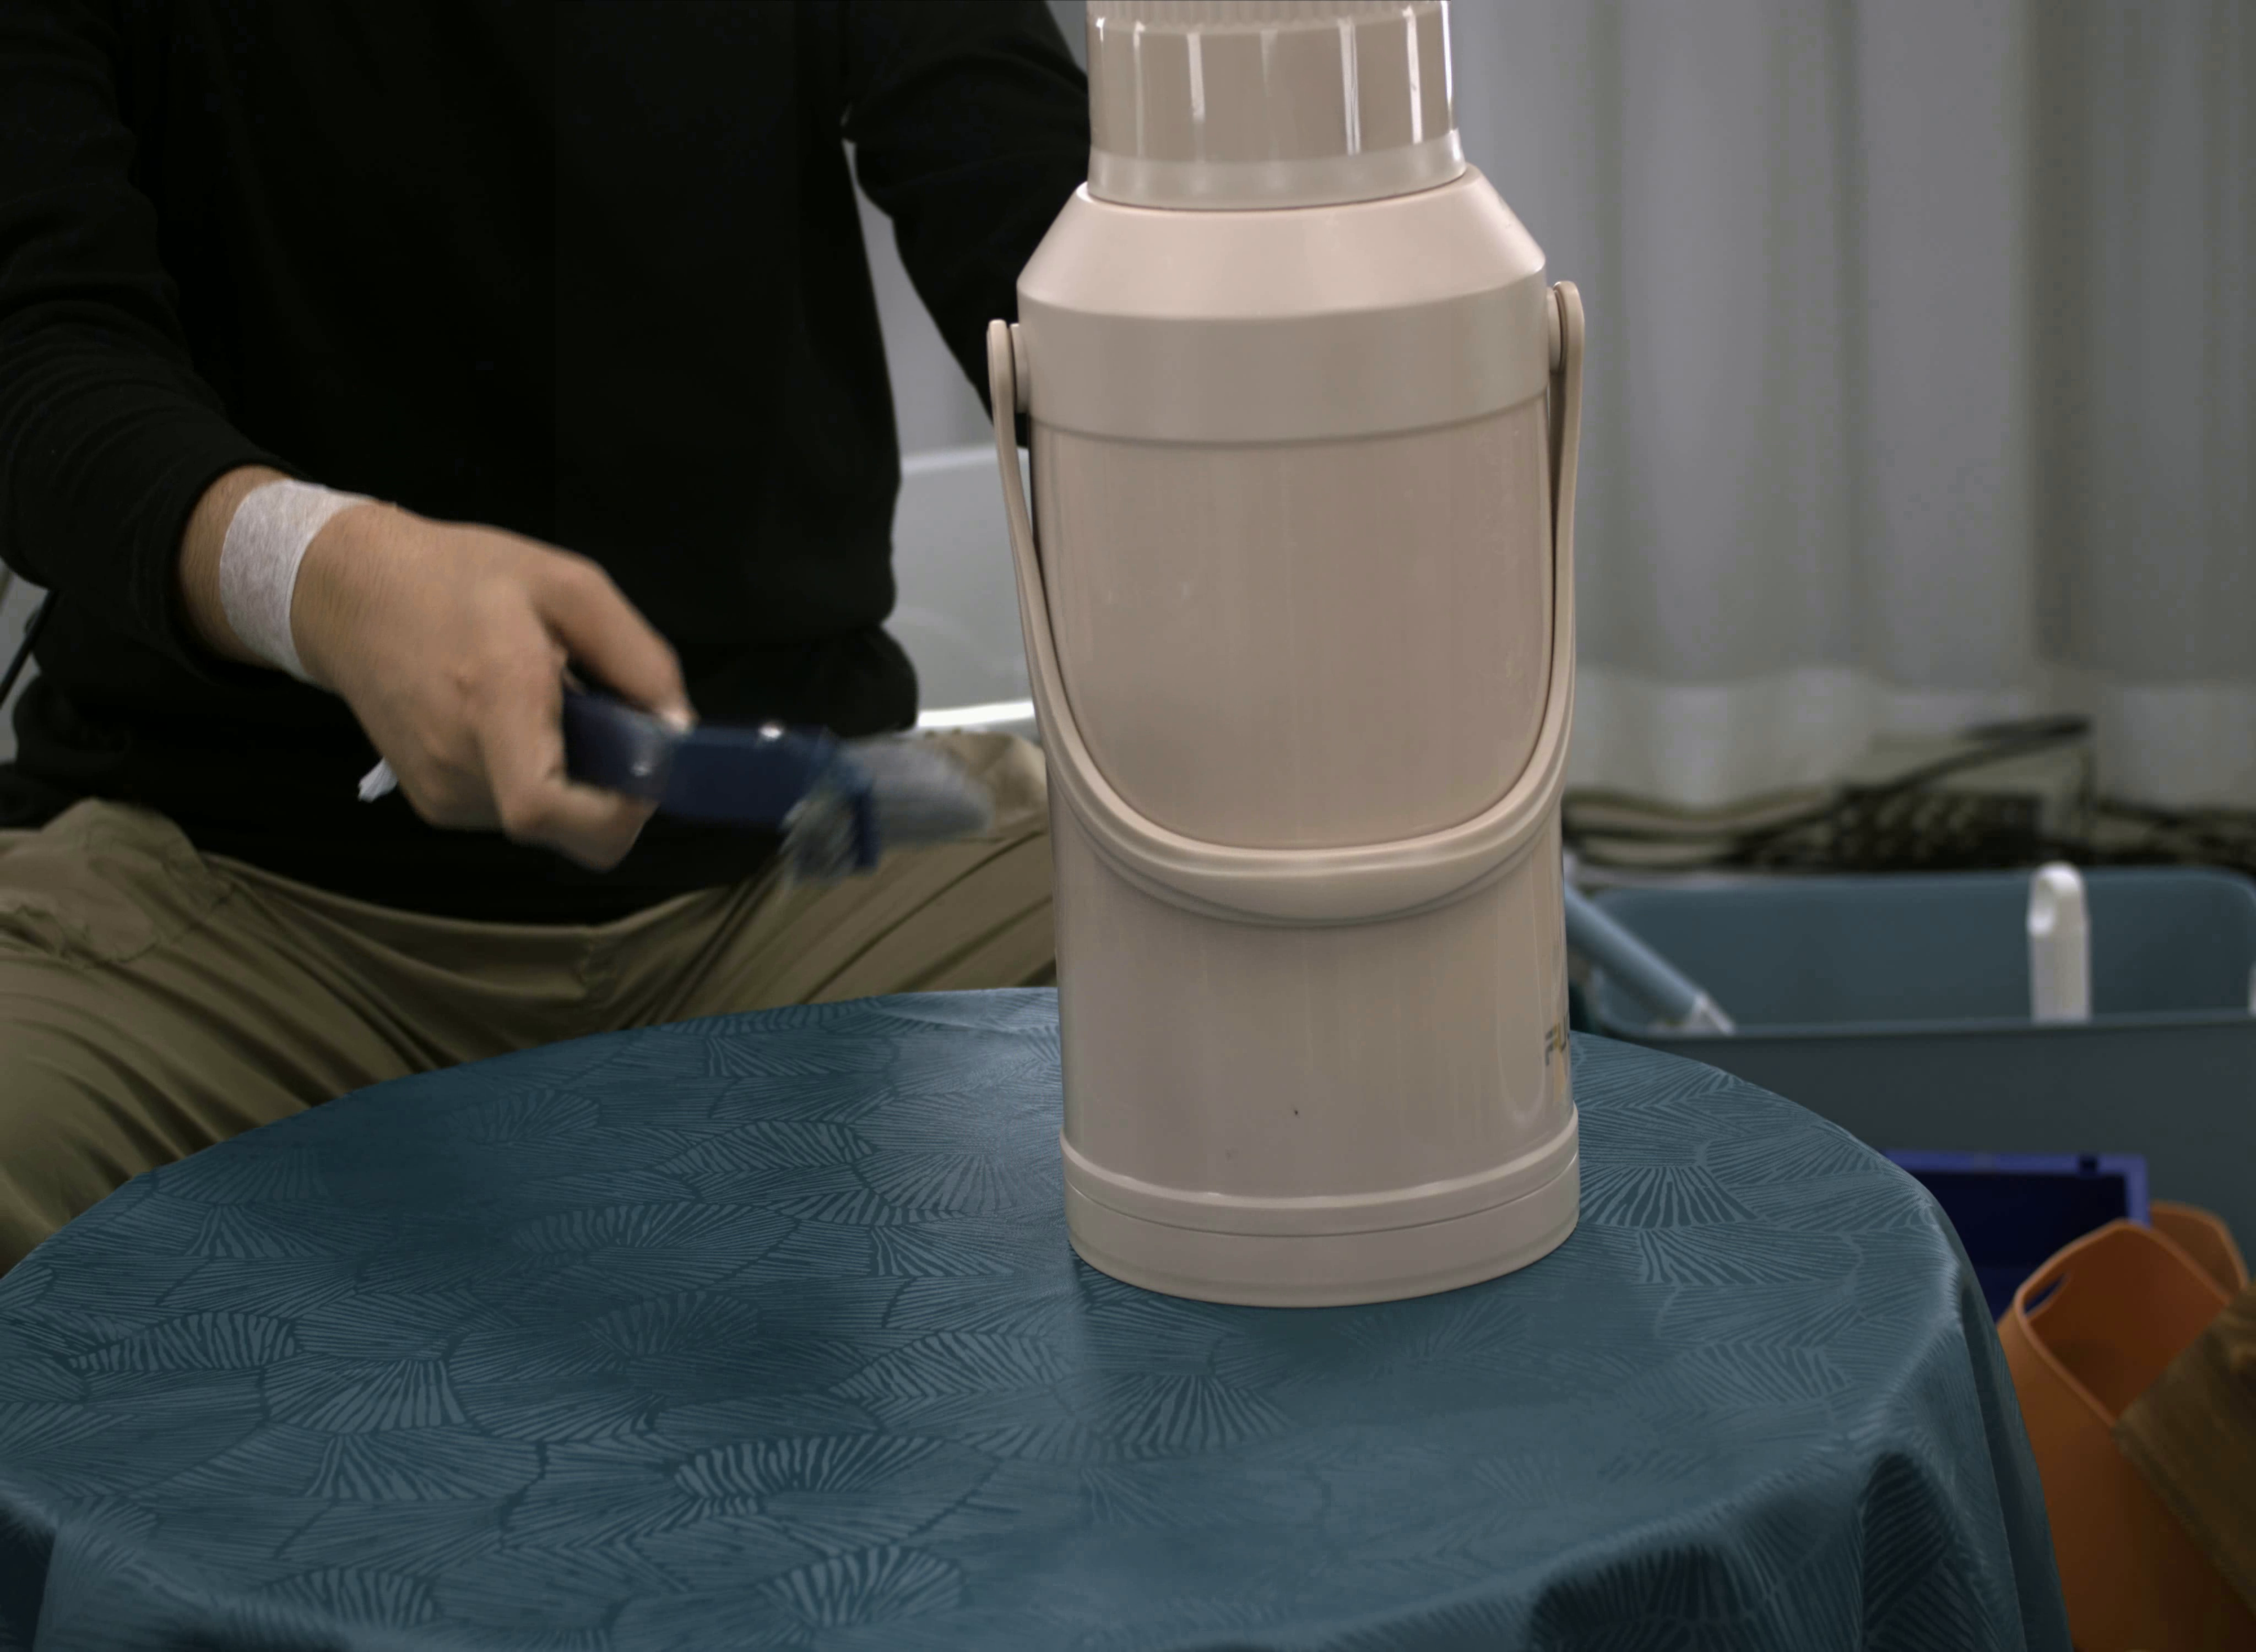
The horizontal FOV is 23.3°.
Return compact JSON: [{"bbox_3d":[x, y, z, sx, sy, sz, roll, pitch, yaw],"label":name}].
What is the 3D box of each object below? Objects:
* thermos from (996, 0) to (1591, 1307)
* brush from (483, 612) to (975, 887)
[{"bbox_3d":[0.052,-0.074,1.647,0.174,0.405,0.208,-5,14,-5],"label":"thermos"},{"bbox_3d":[-0.137,-0.025,1.582,0.095,0.033,0.275,-15,17,-36],"label":"brush"}]
